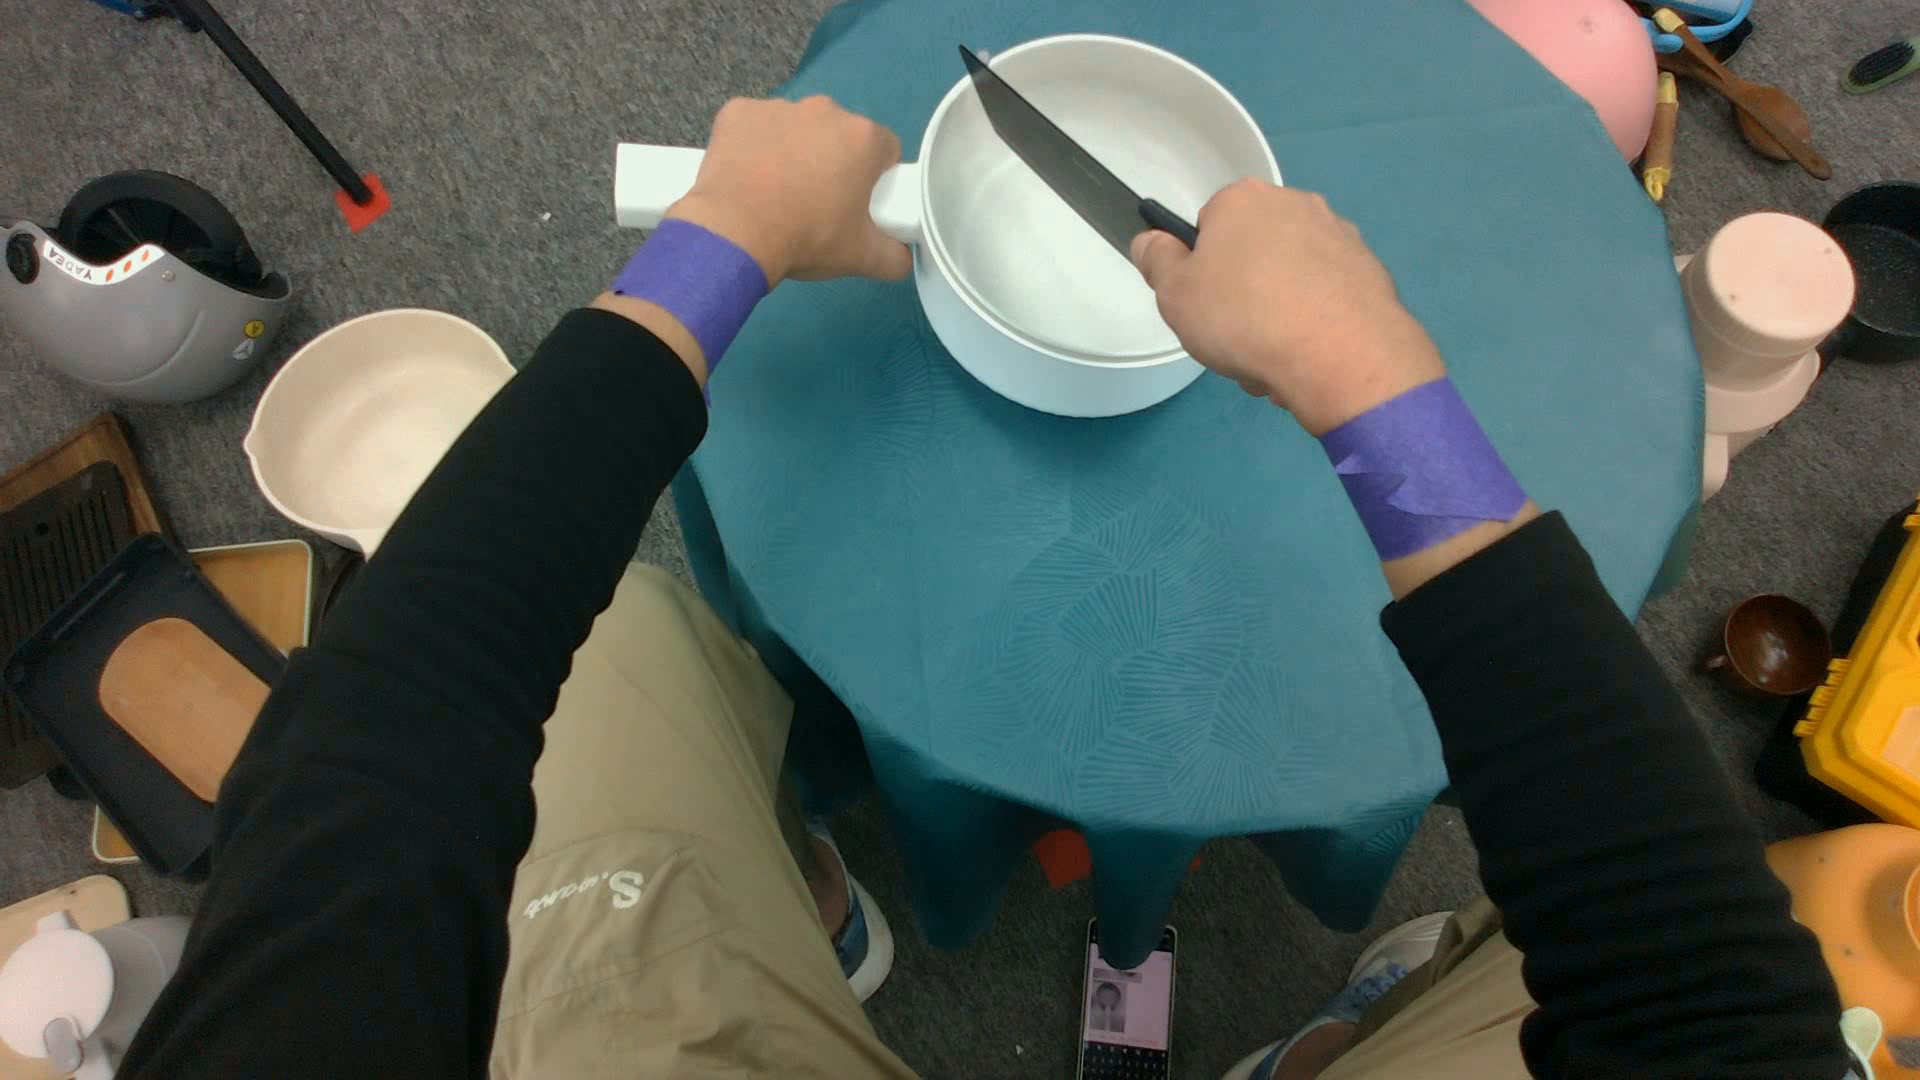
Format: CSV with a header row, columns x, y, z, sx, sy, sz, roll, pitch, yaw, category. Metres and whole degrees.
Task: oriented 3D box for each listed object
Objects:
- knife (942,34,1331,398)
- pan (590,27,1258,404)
x,y,z,sx,sy,sz,roll,pitch,yaw,category
0.070,-0.153,0.637,0.021,0.081,0.303,-36,47,-2,knife
-0.019,-0.177,0.769,0.355,0.102,0.202,0,71,-7,pan
